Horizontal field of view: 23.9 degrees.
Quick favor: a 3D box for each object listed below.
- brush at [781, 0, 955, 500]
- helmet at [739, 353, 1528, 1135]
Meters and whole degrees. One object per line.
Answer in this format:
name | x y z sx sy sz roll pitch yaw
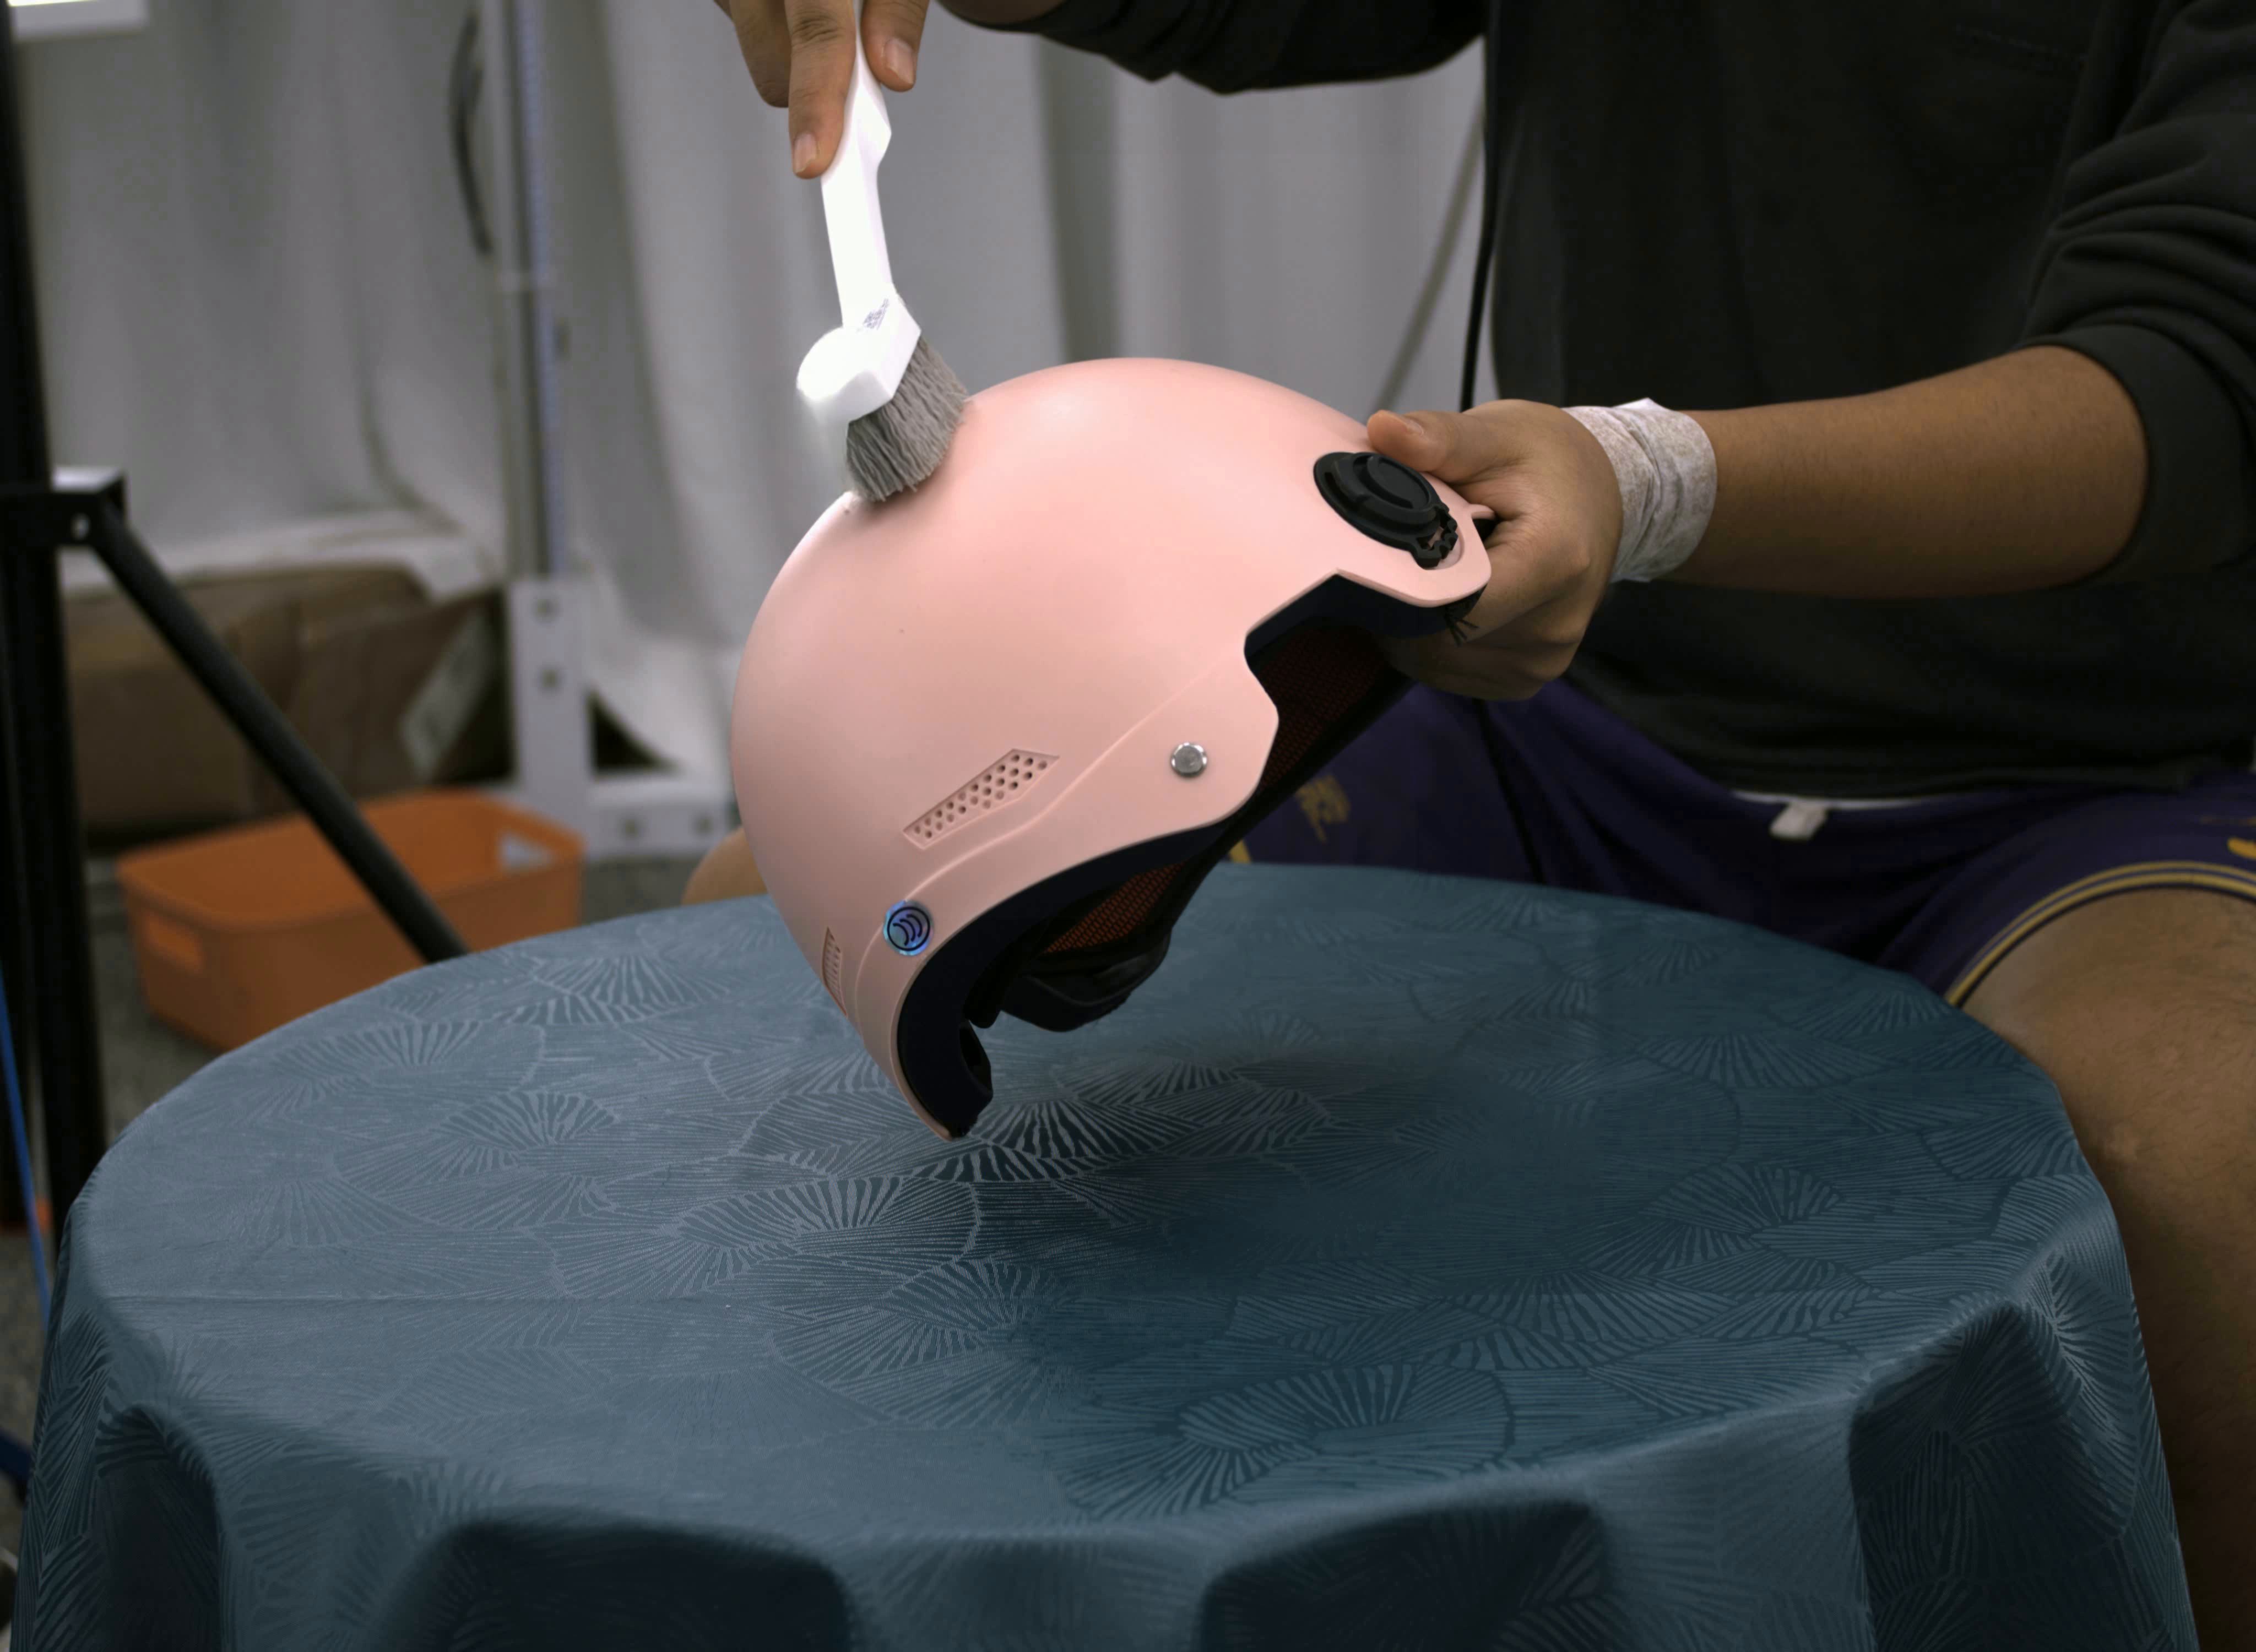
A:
brush | -0.076 -0.182 1.581 0.034 0.049 0.246 -26 37 19
helmet | -0.013 -0.050 1.577 0.160 0.236 0.261 47 43 10
